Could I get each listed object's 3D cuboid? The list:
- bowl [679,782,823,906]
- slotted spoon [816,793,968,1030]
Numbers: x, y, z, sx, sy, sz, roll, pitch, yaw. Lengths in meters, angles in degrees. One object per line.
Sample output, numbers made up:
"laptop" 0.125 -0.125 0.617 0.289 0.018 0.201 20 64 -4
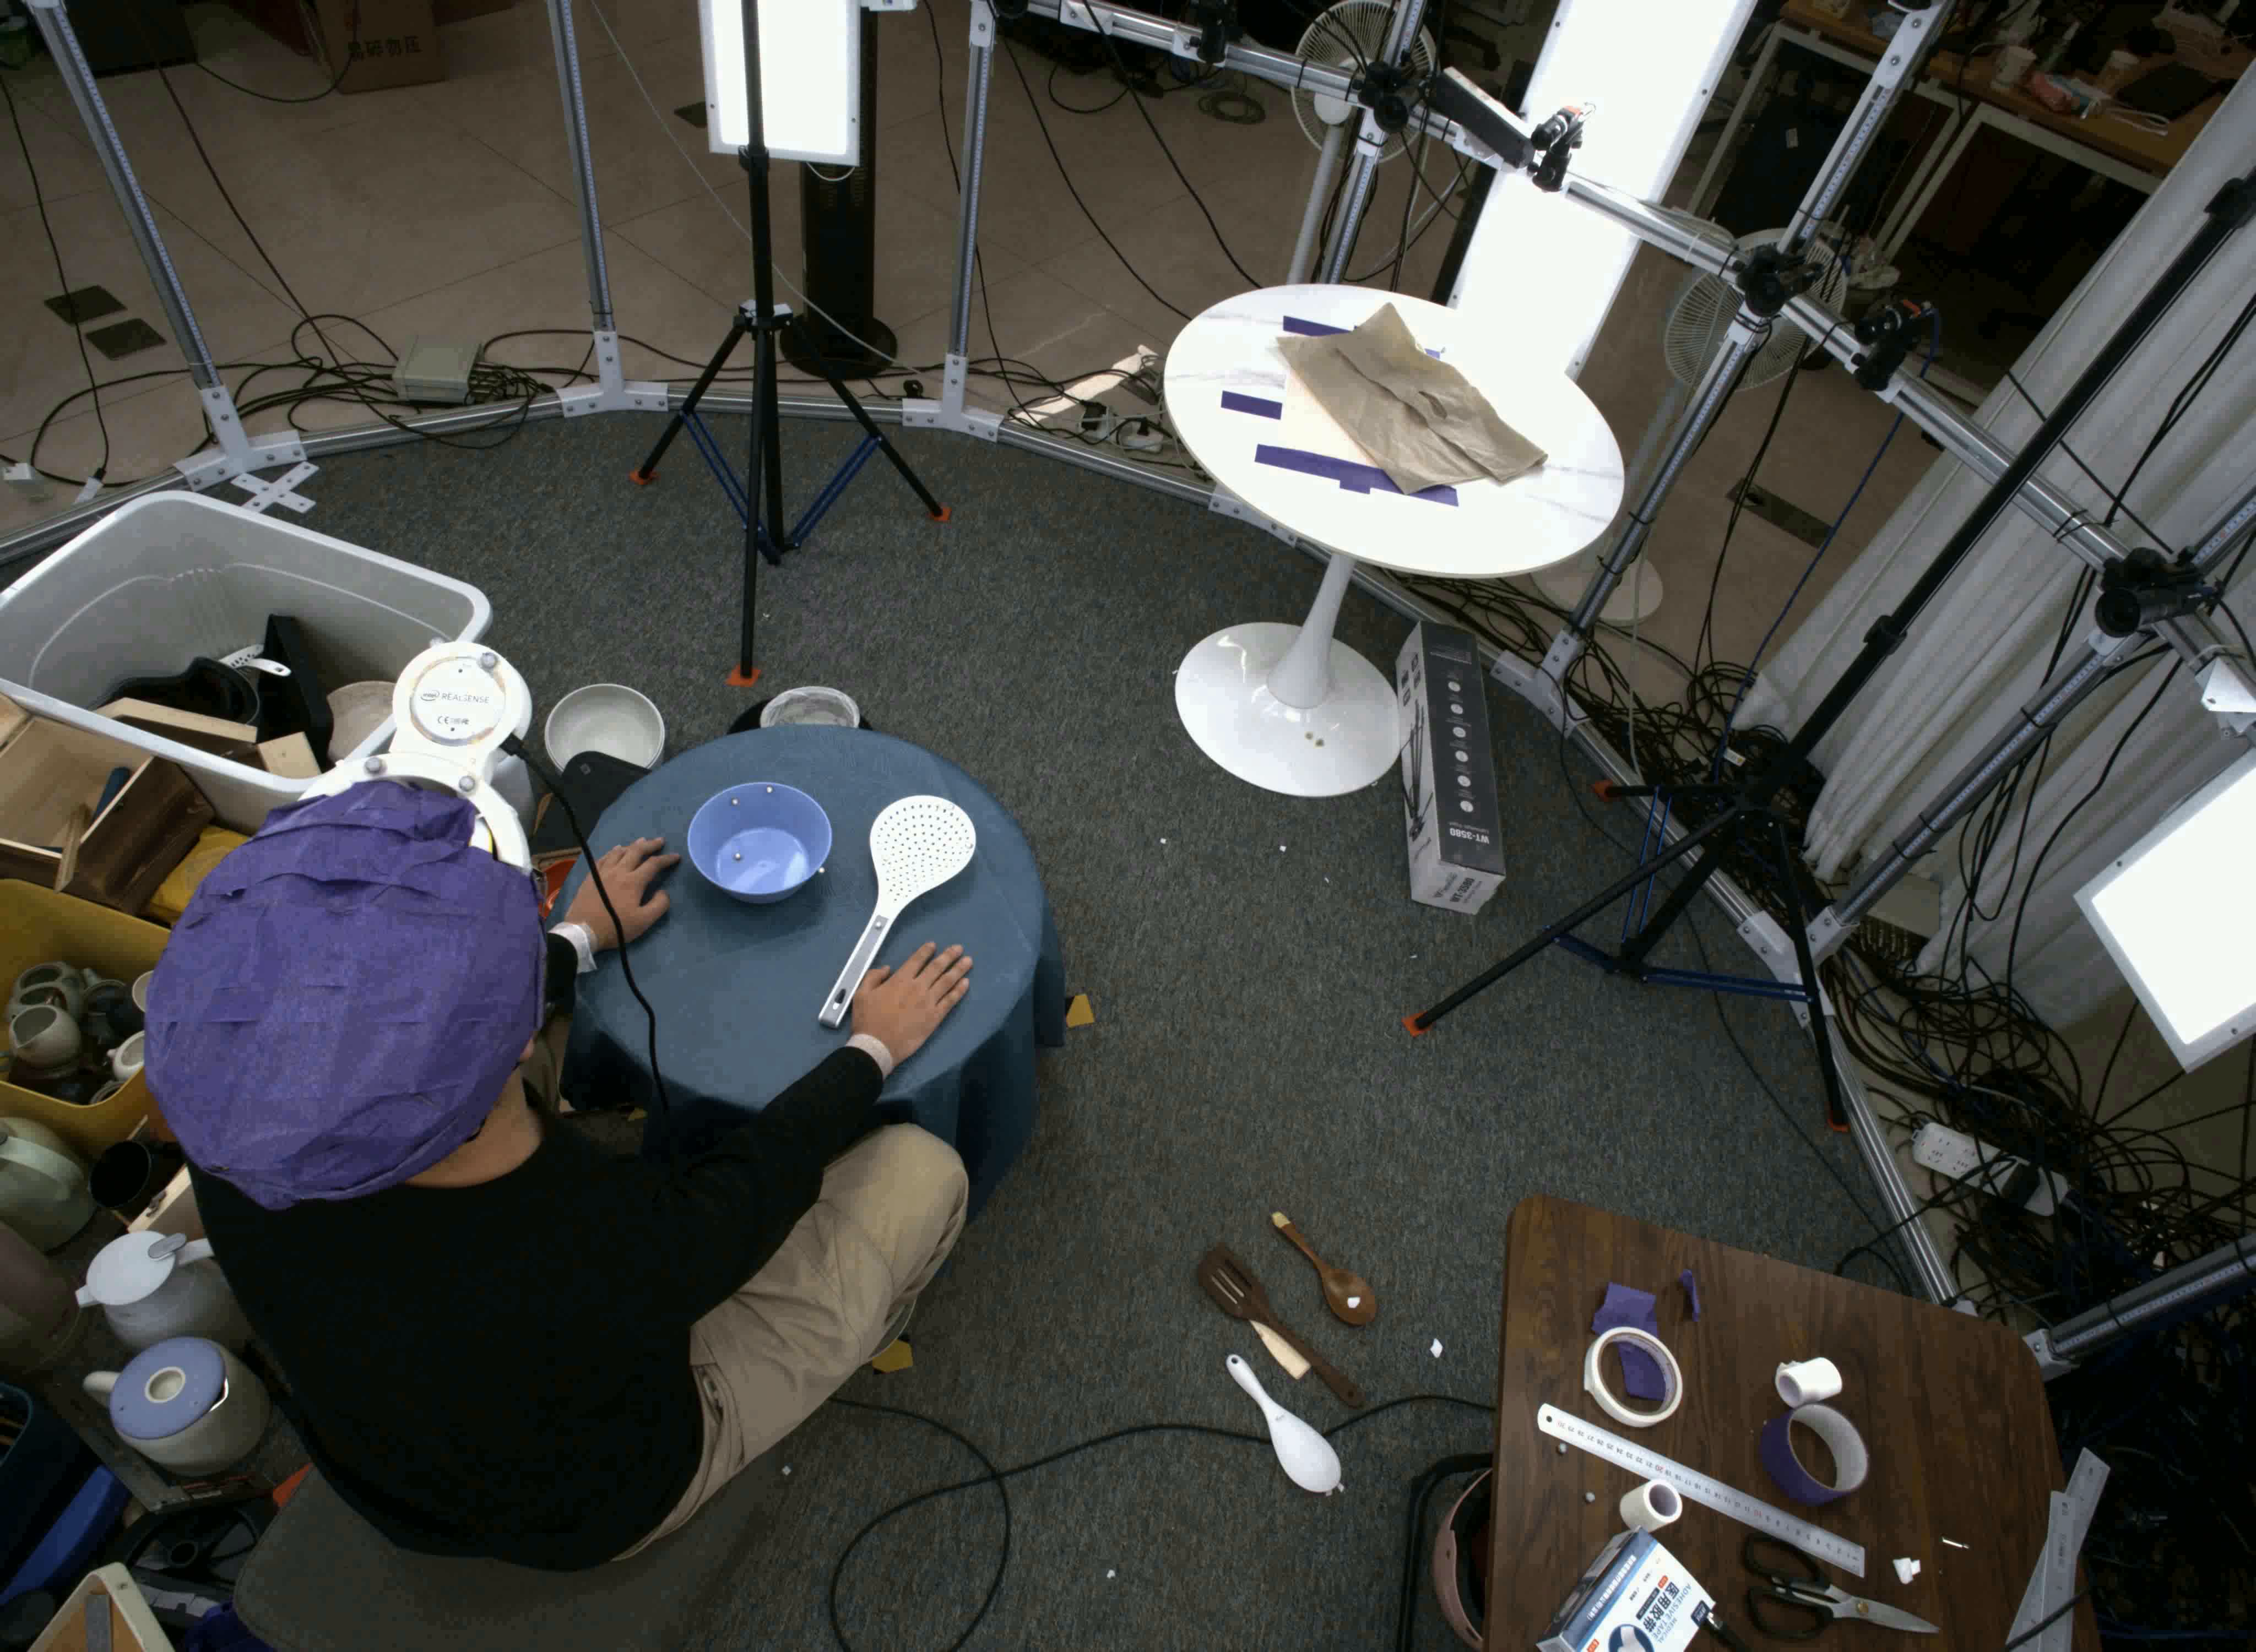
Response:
"bowl" -0.474 0.033 1.636 0.176 0.071 0.173 7 53 -8
"slotted spoon" -0.309 0.102 1.644 0.135 0.046 0.346 20 53 1
